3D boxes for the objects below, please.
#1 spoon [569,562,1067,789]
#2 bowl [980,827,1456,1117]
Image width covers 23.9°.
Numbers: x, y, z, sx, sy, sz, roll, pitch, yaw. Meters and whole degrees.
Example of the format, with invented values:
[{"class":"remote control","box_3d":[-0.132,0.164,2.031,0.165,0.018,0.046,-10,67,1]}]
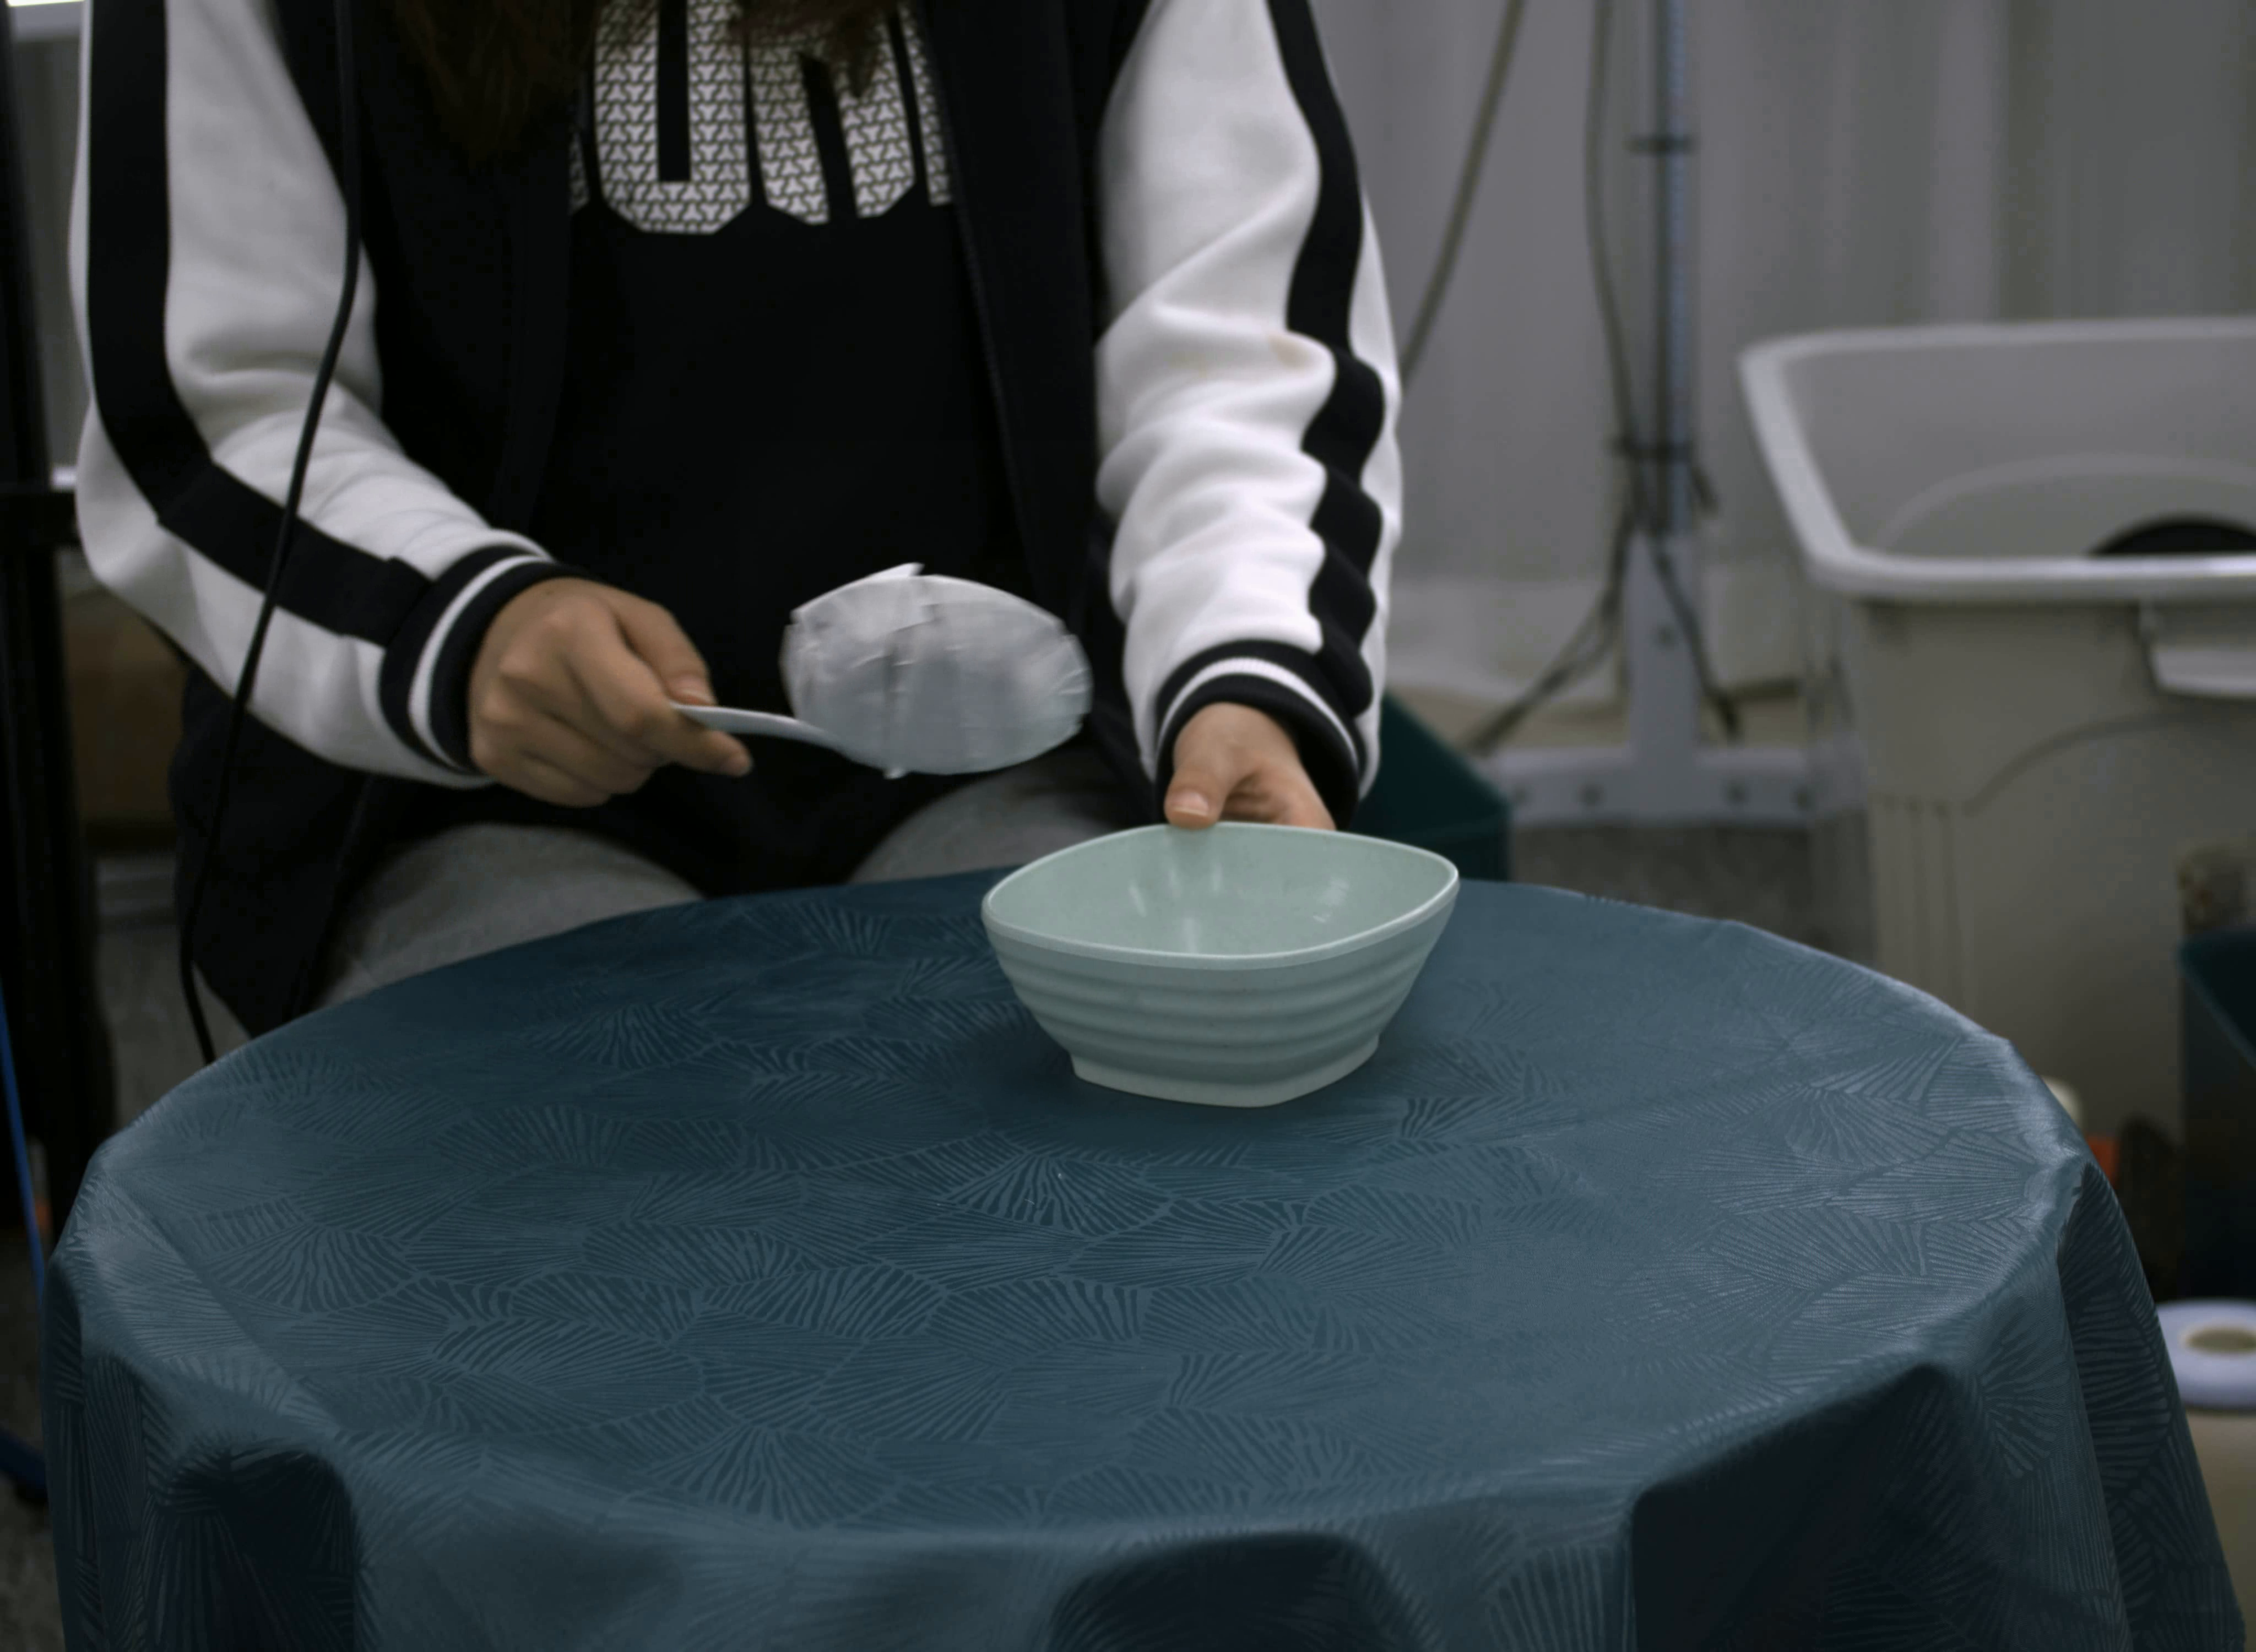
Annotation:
[{"class":"spoon","box_3d":[-0.107,-0.049,1.706,0.099,0.059,0.282,38,-13,-23]},{"class":"bowl","box_3d":[0.029,0.049,1.665,0.150,0.058,0.152,-2,16,-1]}]
